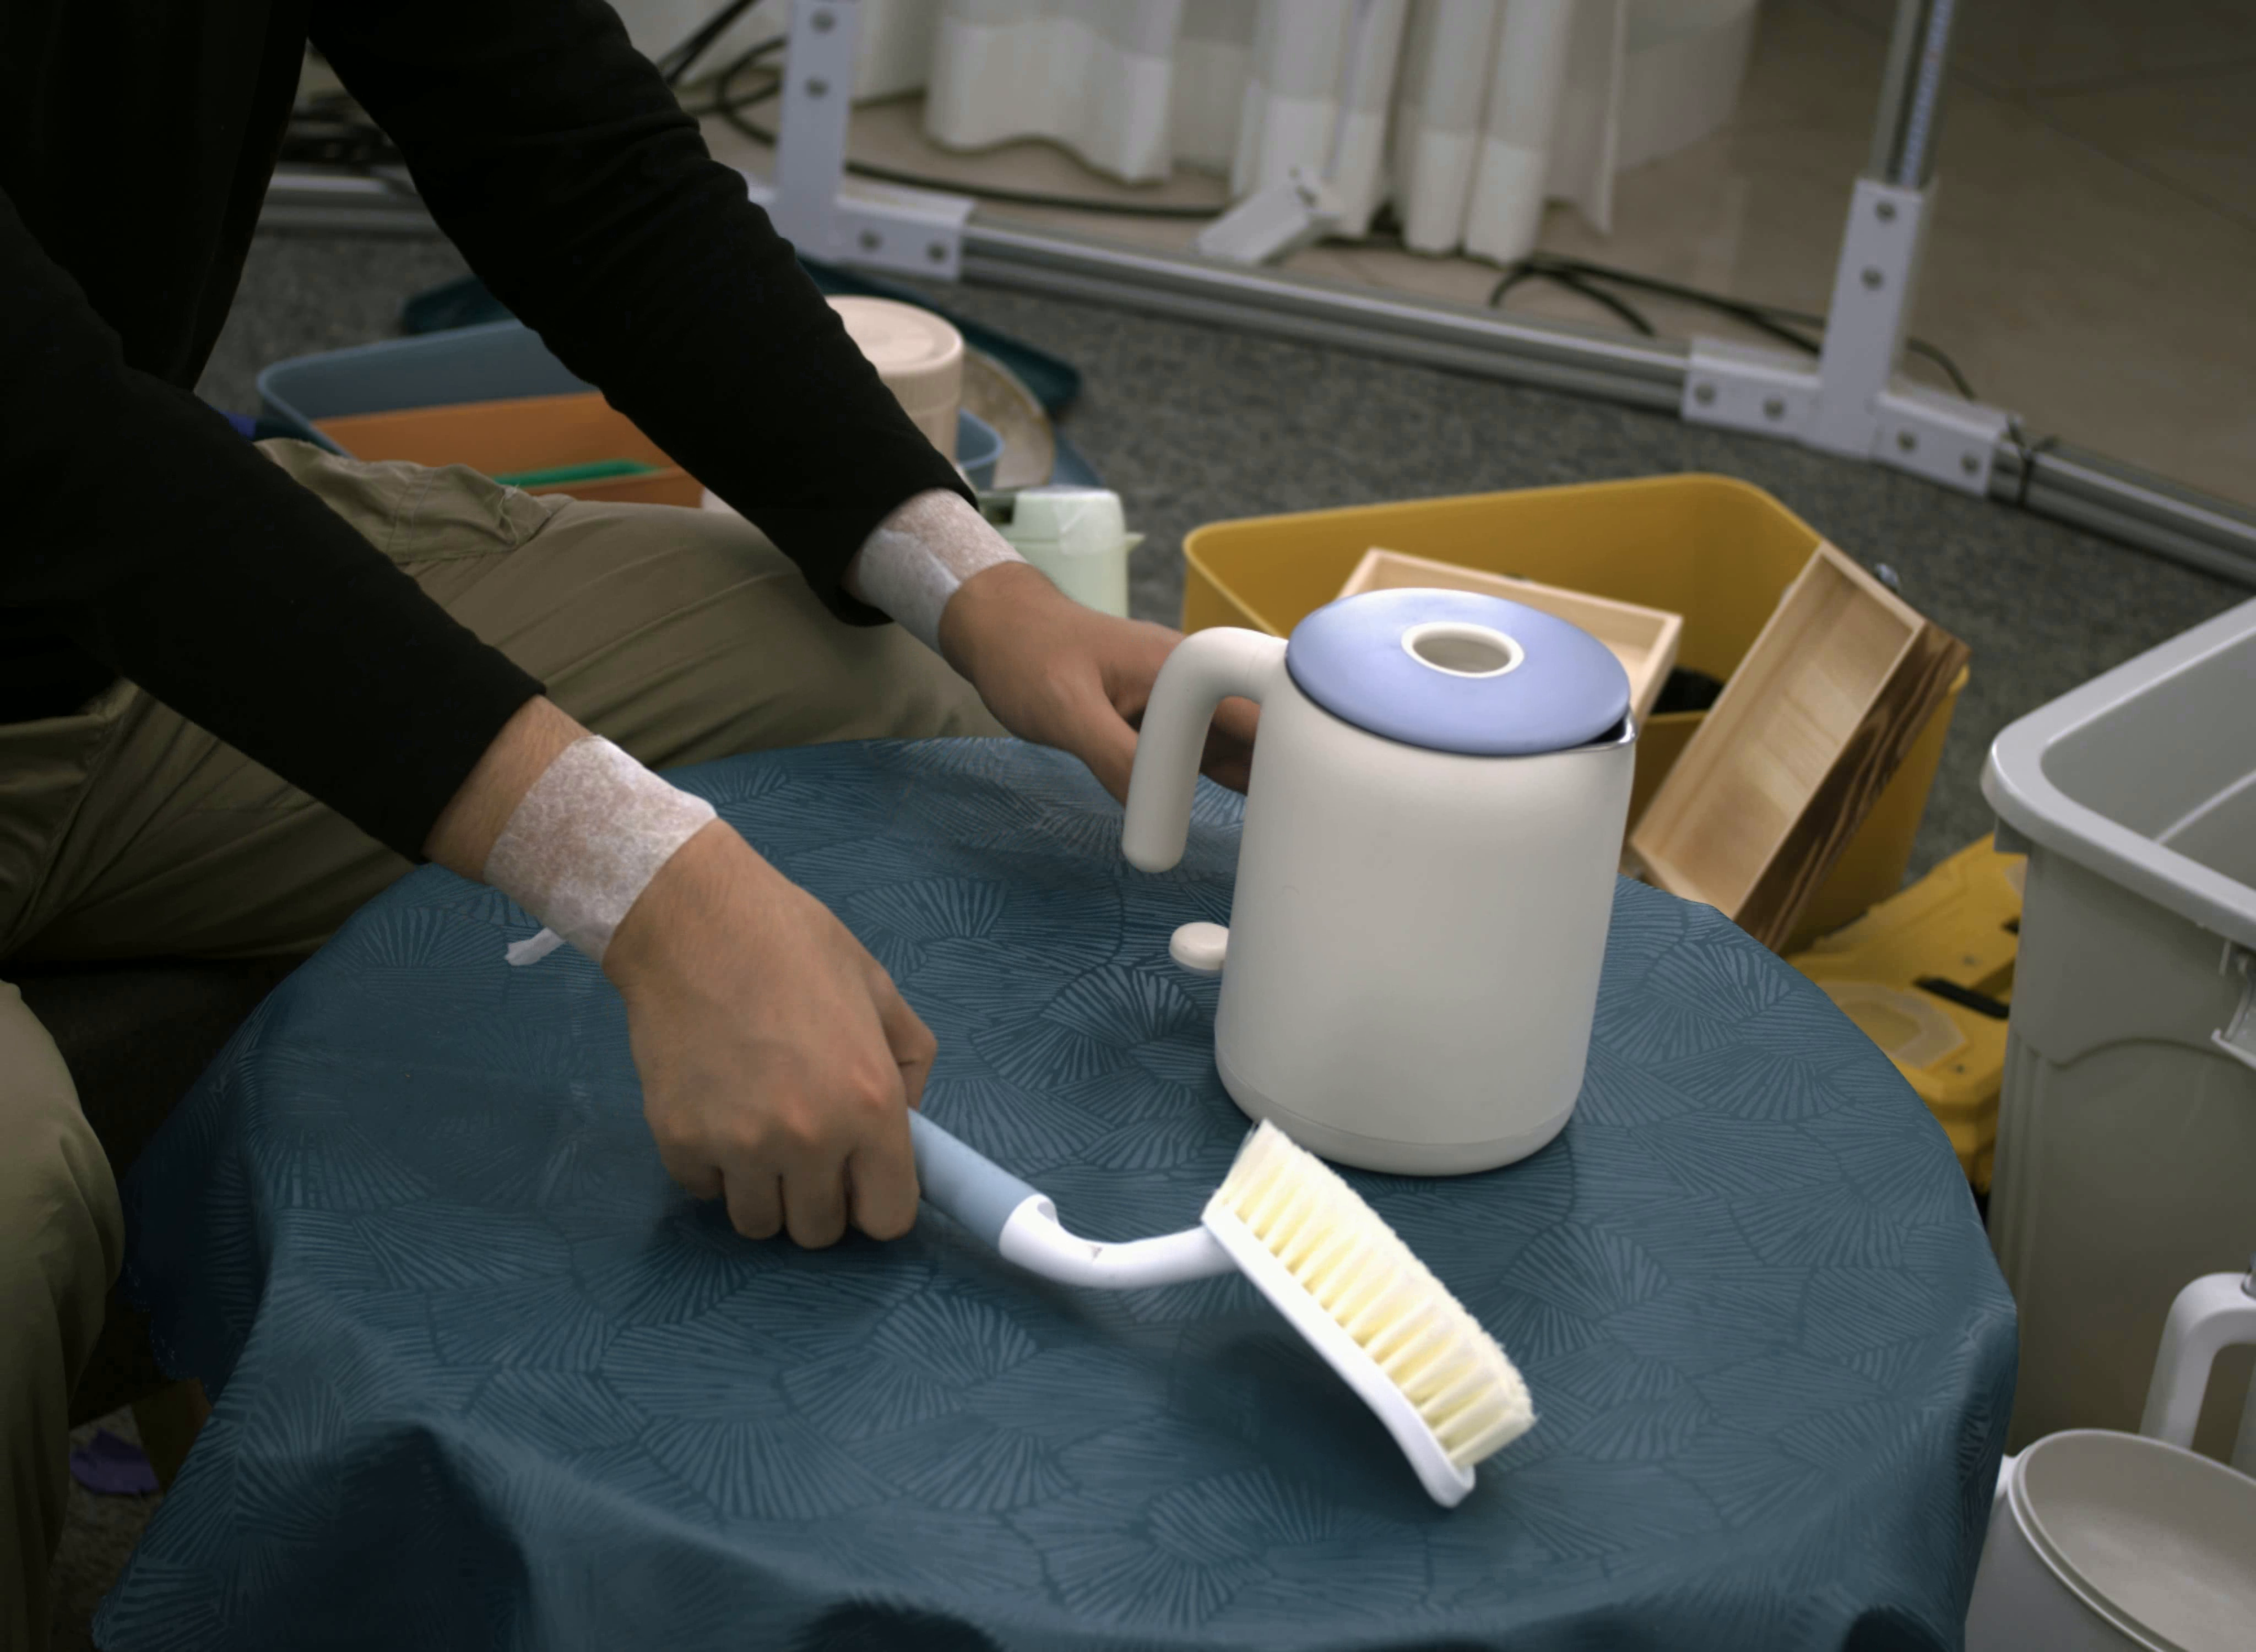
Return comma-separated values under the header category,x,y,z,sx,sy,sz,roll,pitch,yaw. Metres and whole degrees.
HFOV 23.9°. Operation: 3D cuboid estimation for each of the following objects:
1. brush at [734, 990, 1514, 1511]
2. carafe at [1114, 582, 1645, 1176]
category,x,y,z,sx,sy,sz,roll,pitch,yaw
brush,0.000,0.108,1.727,0.328,0.082,0.084,32,47,33
carafe,0.082,0.010,1.853,0.192,0.182,0.132,19,29,25
